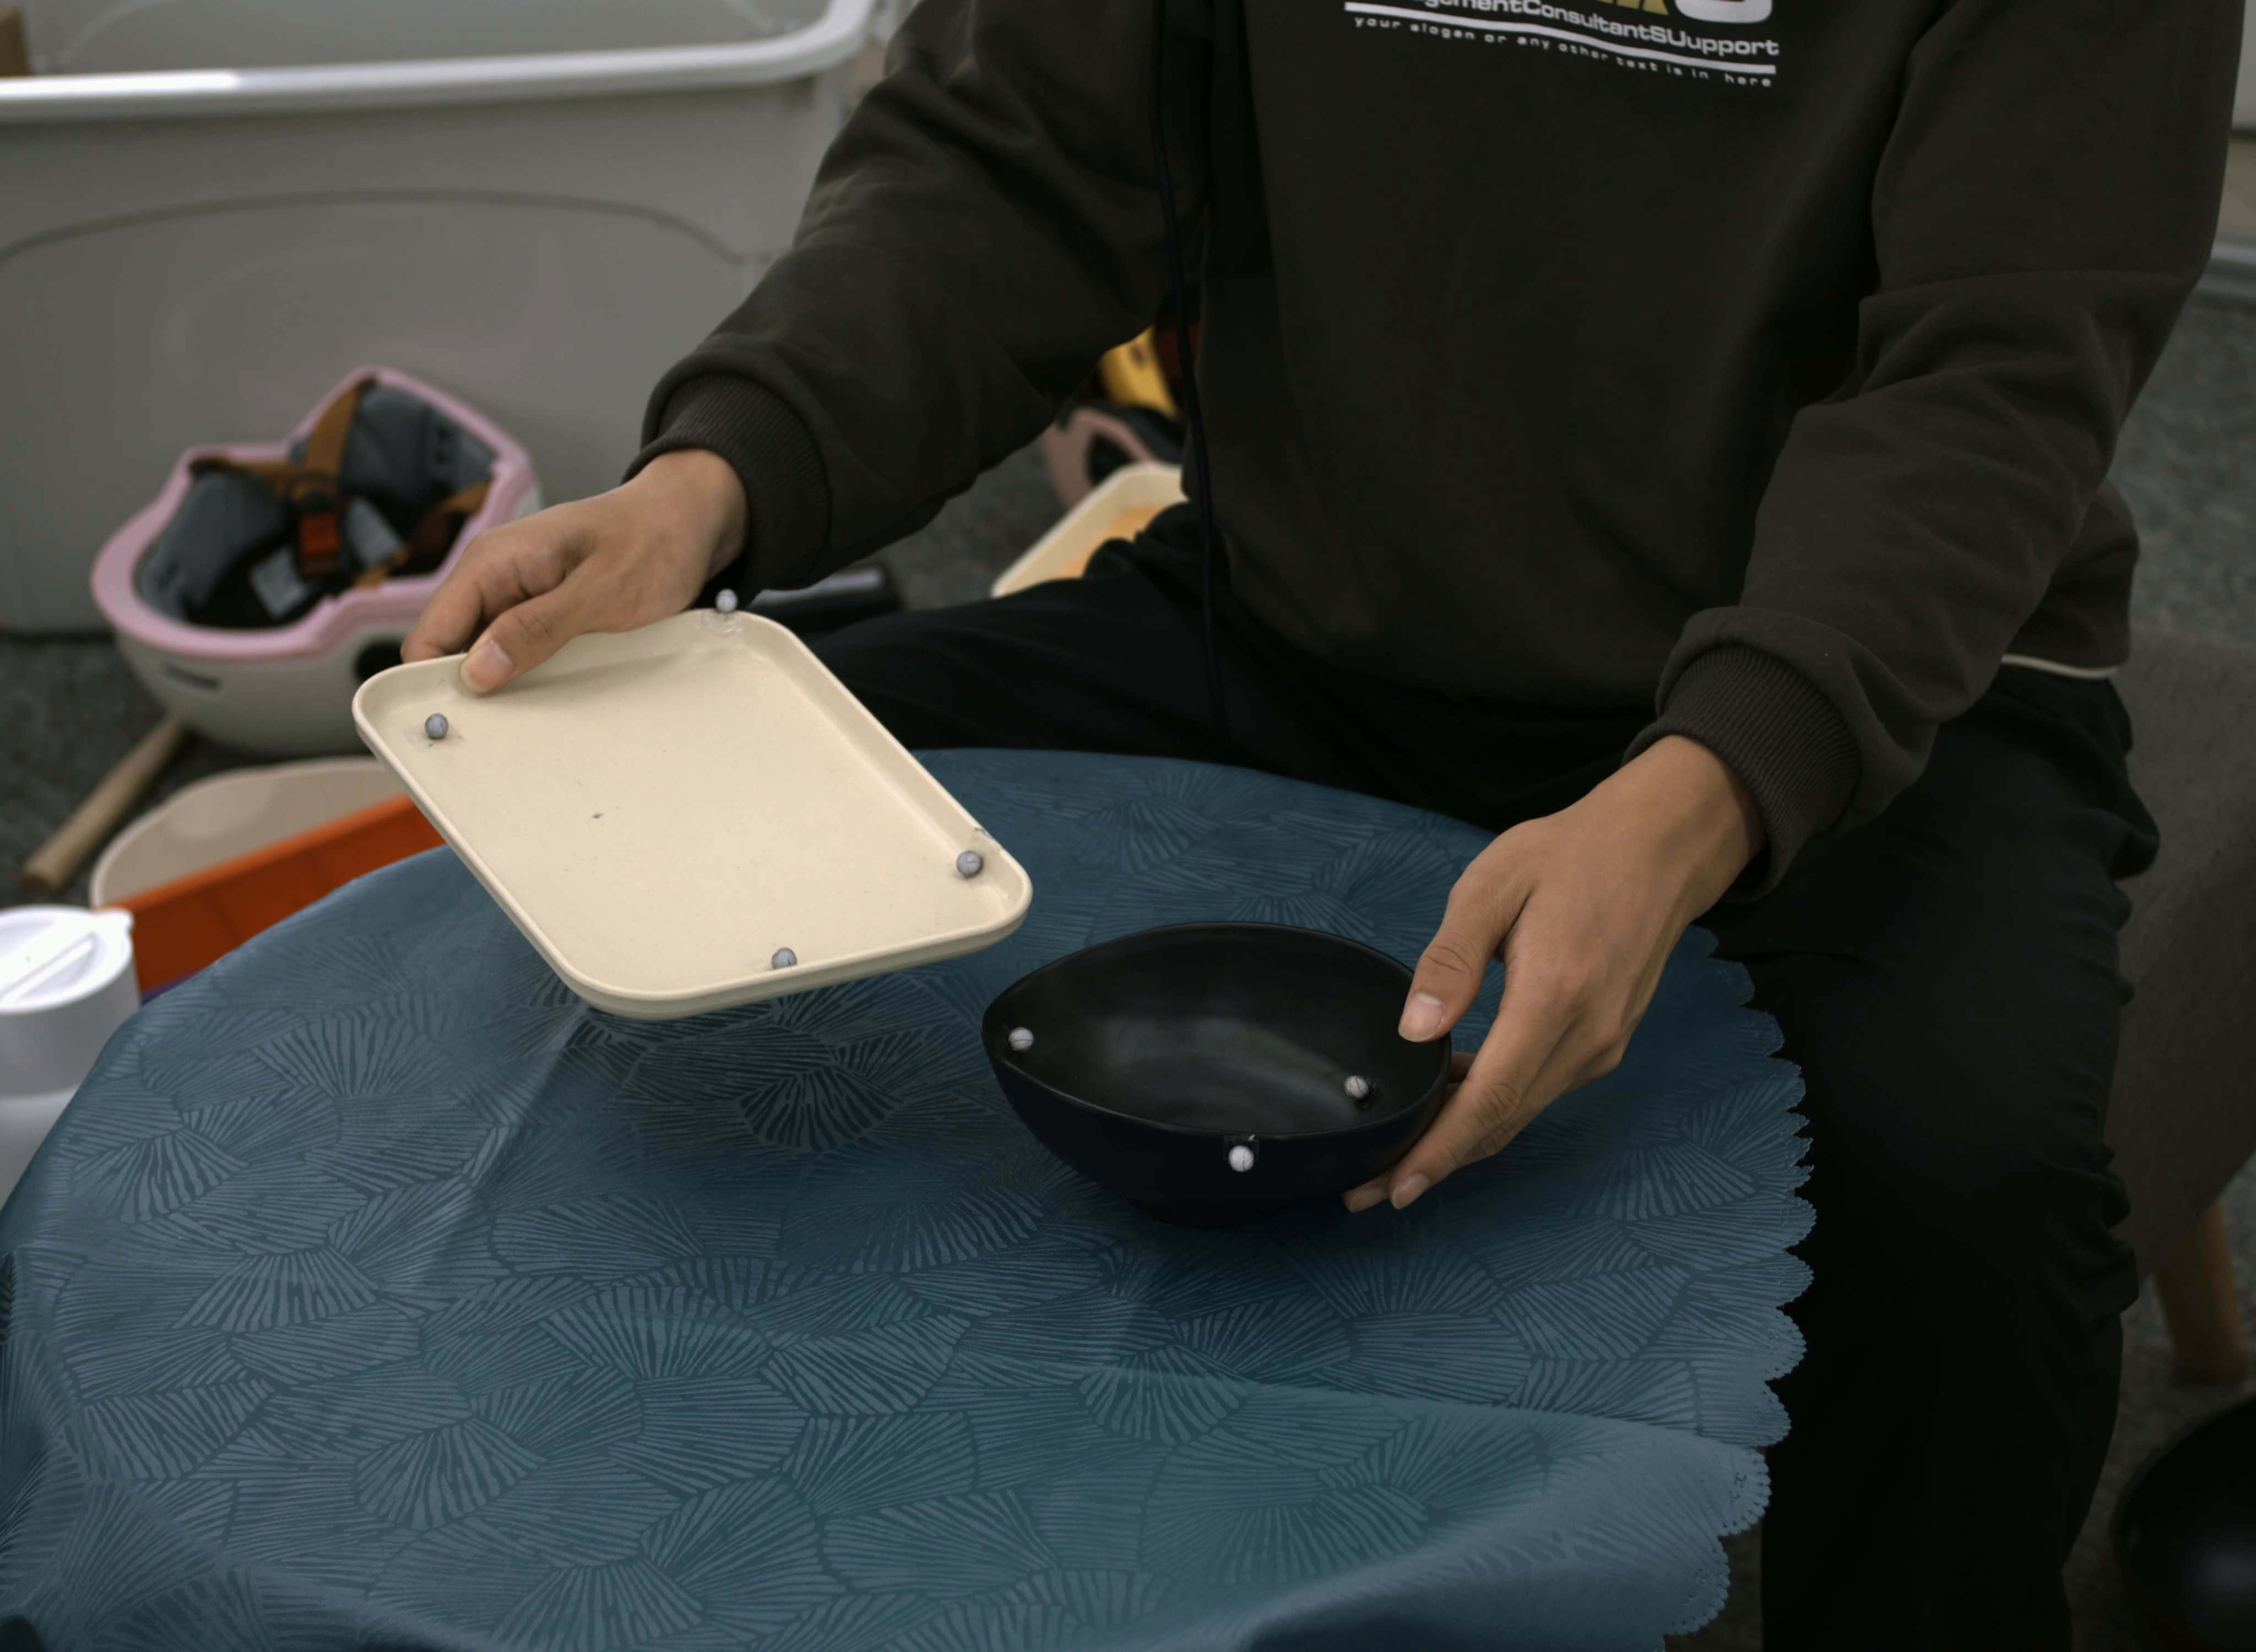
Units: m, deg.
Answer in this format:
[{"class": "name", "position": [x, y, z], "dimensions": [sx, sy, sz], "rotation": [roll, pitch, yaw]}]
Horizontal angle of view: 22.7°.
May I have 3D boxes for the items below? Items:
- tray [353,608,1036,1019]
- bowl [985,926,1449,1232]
[{"class": "tray", "position": [-0.151, -0.006, 1.930], "dimensions": [0.172, 0.017, 0.241], "rotation": [-12, 33, -27]}, {"class": "bowl", "position": [0.028, 0.091, 1.855], "dimensions": [0.169, 0.066, 0.139], "rotation": [17, 31, 37]}]
